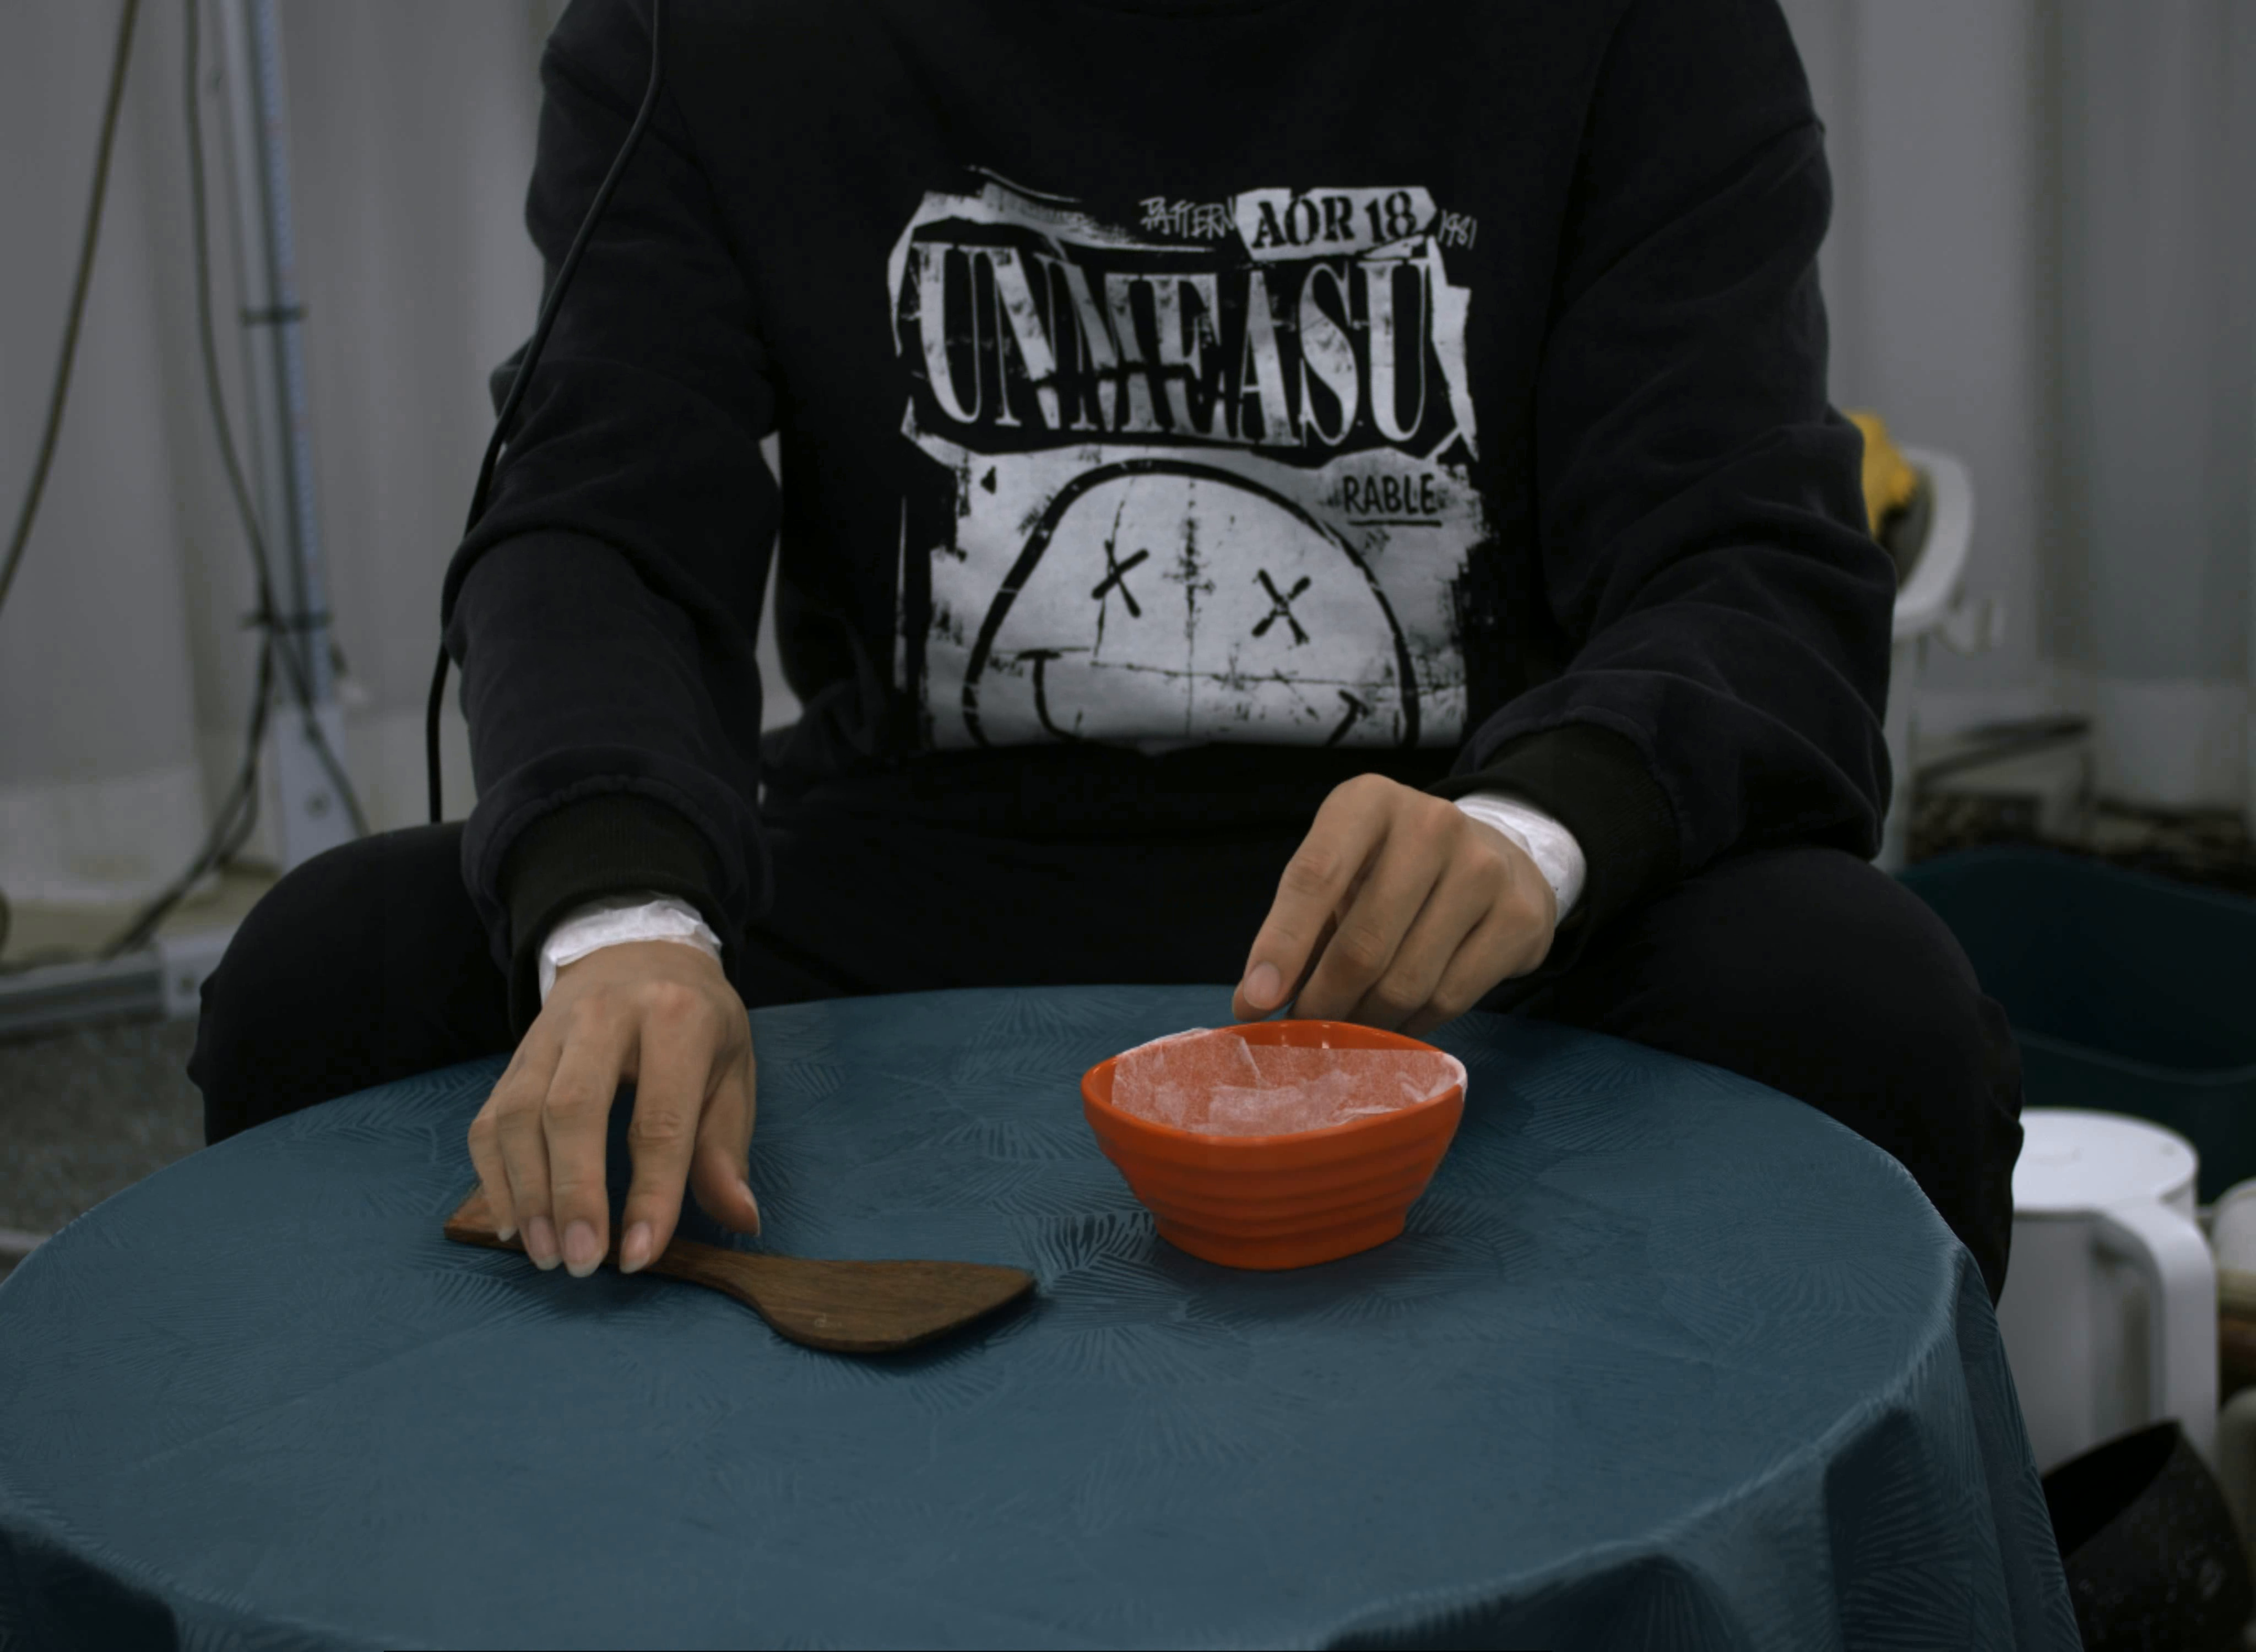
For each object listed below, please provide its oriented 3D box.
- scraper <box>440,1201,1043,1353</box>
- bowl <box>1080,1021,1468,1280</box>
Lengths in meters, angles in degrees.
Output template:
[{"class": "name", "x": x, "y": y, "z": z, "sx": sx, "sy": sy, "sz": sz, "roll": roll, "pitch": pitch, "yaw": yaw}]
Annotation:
[{"class": "scraper", "x": -0.124, "y": 0.133, "z": 1.653, "sx": 0.212, "sy": 0.011, "sz": 0.076, "roll": 7, "pitch": 17, "yaw": 36}, {"class": "bowl", "x": 0.046, "y": 0.101, "z": 1.665, "sx": 0.118, "sy": 0.051, "sz": 0.120, "roll": -4, "pitch": 16, "yaw": 1}]
